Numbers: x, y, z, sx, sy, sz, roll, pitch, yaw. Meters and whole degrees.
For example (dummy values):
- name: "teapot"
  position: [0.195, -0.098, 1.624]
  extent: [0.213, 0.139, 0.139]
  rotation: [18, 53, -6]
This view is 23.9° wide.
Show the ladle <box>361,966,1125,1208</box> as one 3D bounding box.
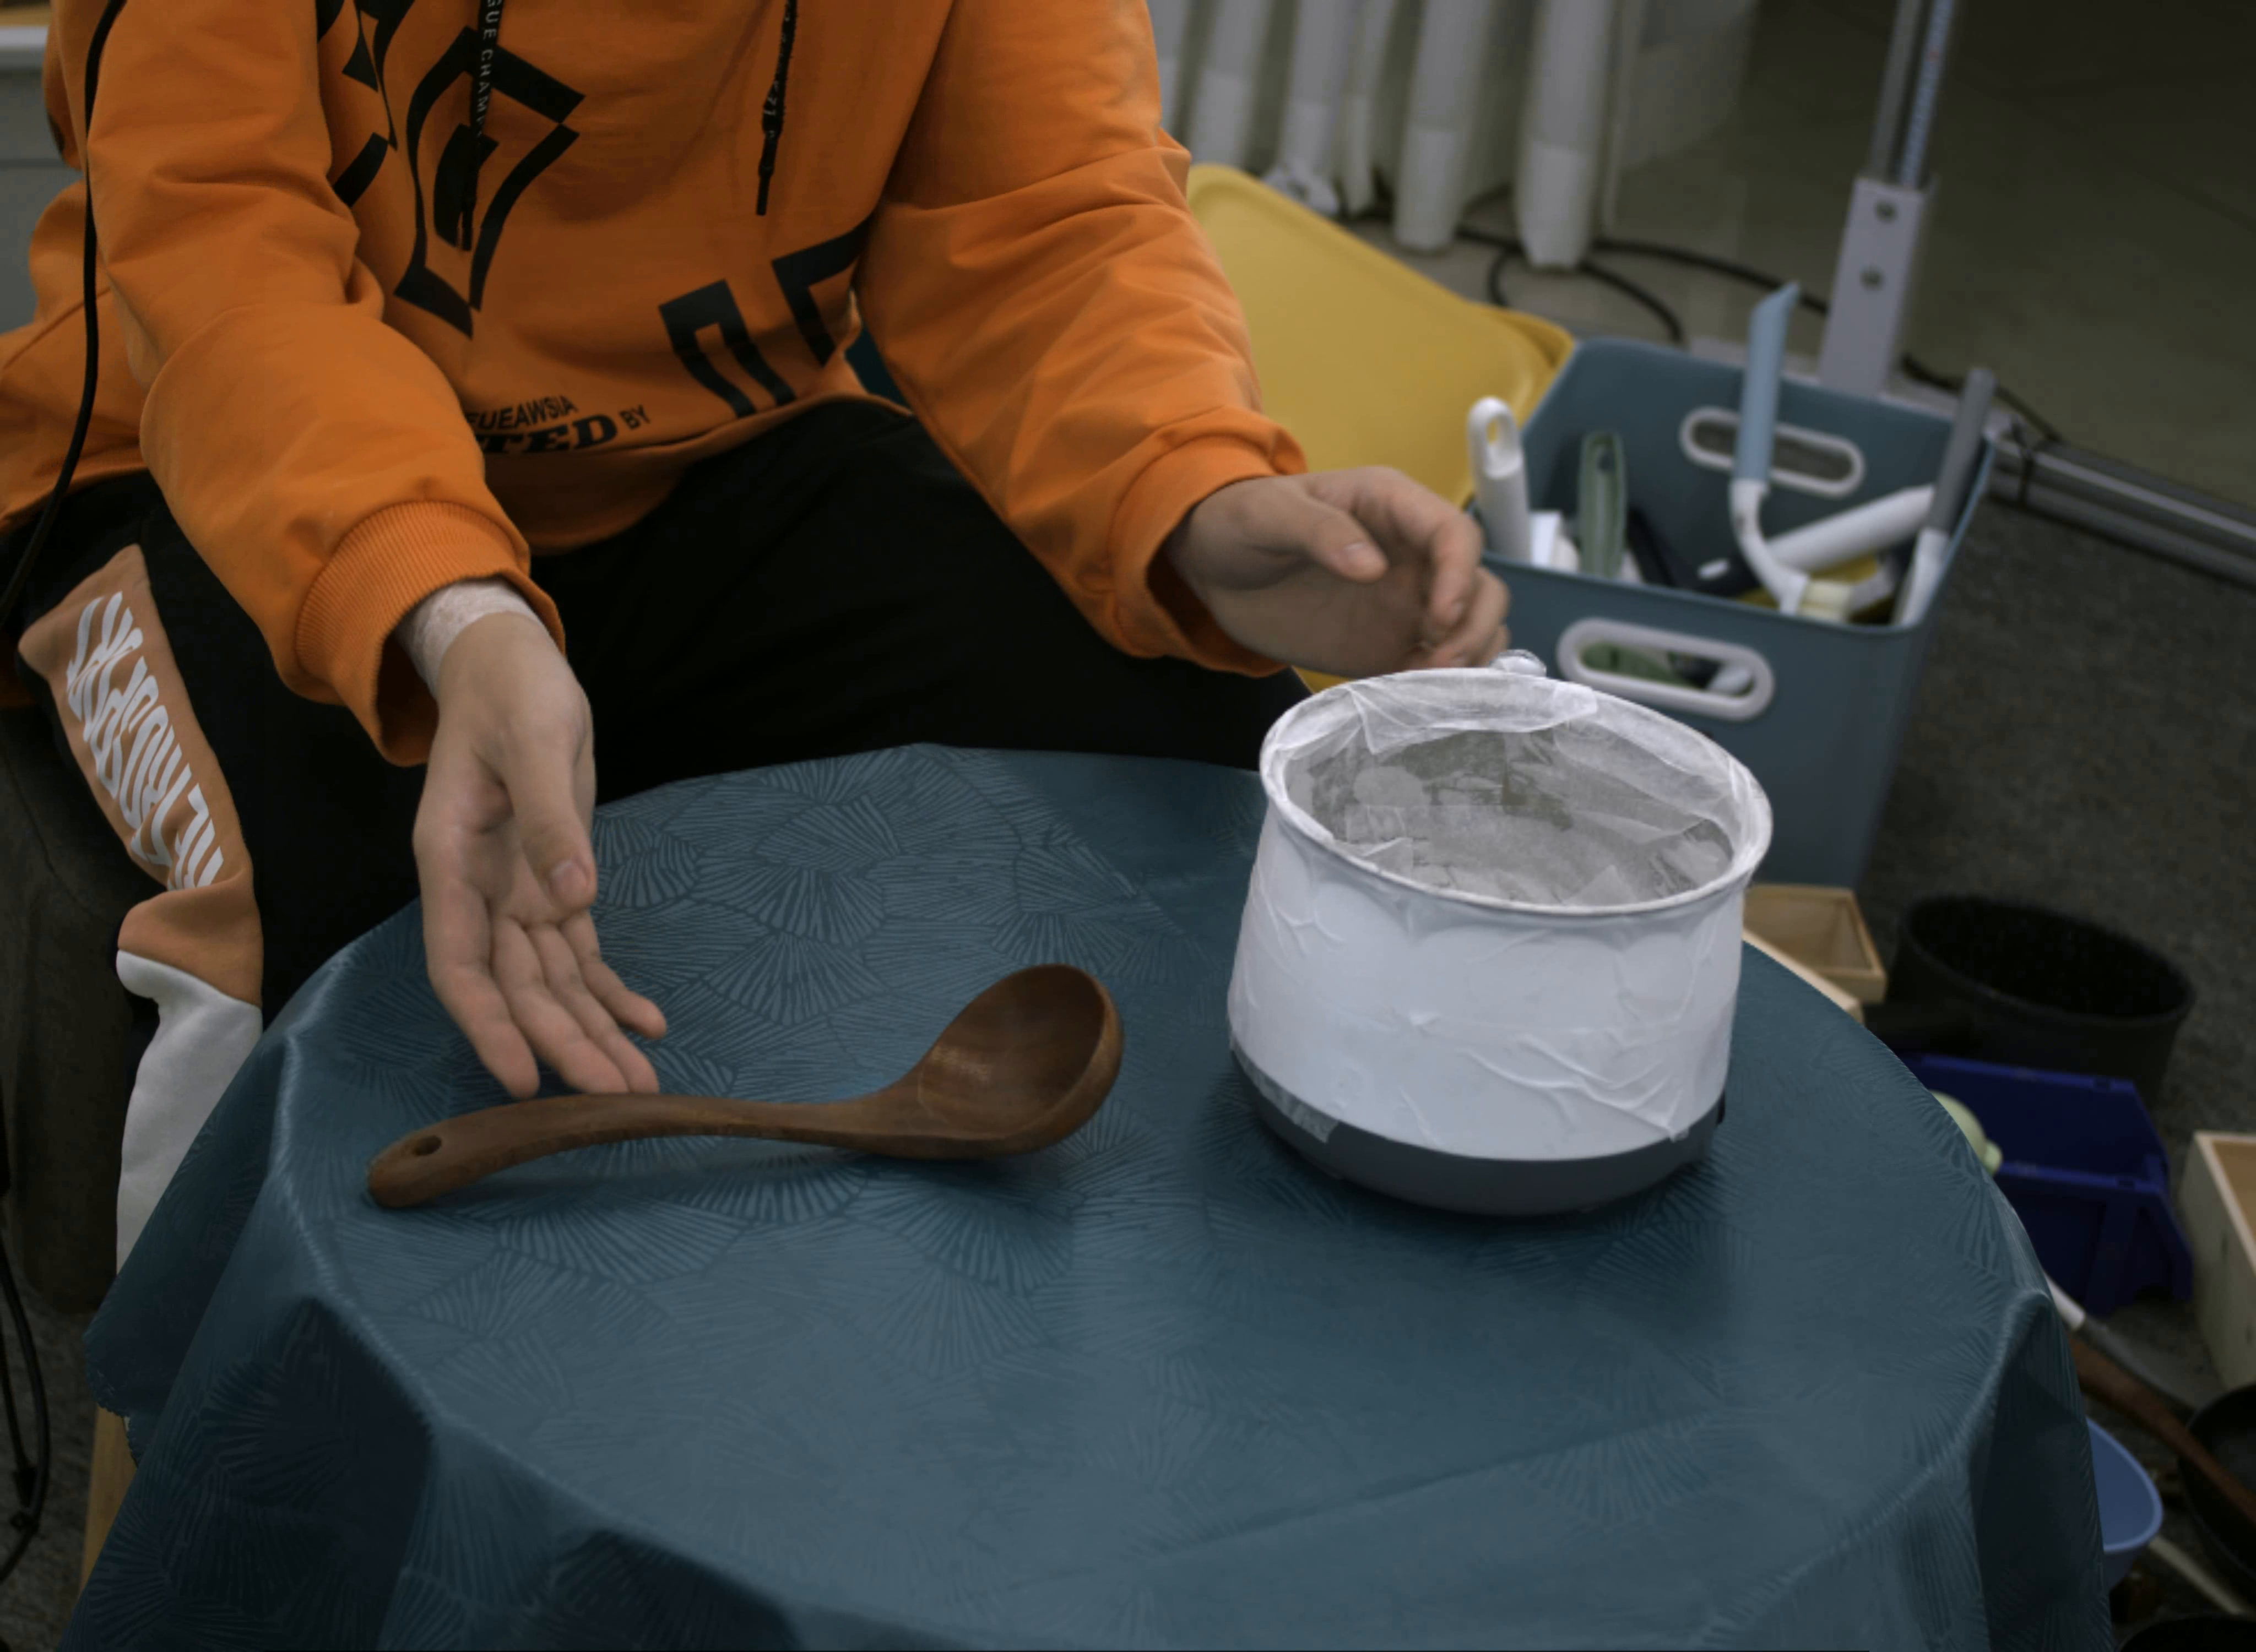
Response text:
- name: "ladle"
  position: [-0.127, 0.087, 1.775]
  extent: [0.258, 0.065, 0.077]
  rotation: [-3, 26, -19]

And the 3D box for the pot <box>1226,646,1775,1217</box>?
- name: "pot"
  position: [0.127, 0.029, 1.864]
  extent: [0.178, 0.136, 0.235]
  rotation: [7, 27, 0]
